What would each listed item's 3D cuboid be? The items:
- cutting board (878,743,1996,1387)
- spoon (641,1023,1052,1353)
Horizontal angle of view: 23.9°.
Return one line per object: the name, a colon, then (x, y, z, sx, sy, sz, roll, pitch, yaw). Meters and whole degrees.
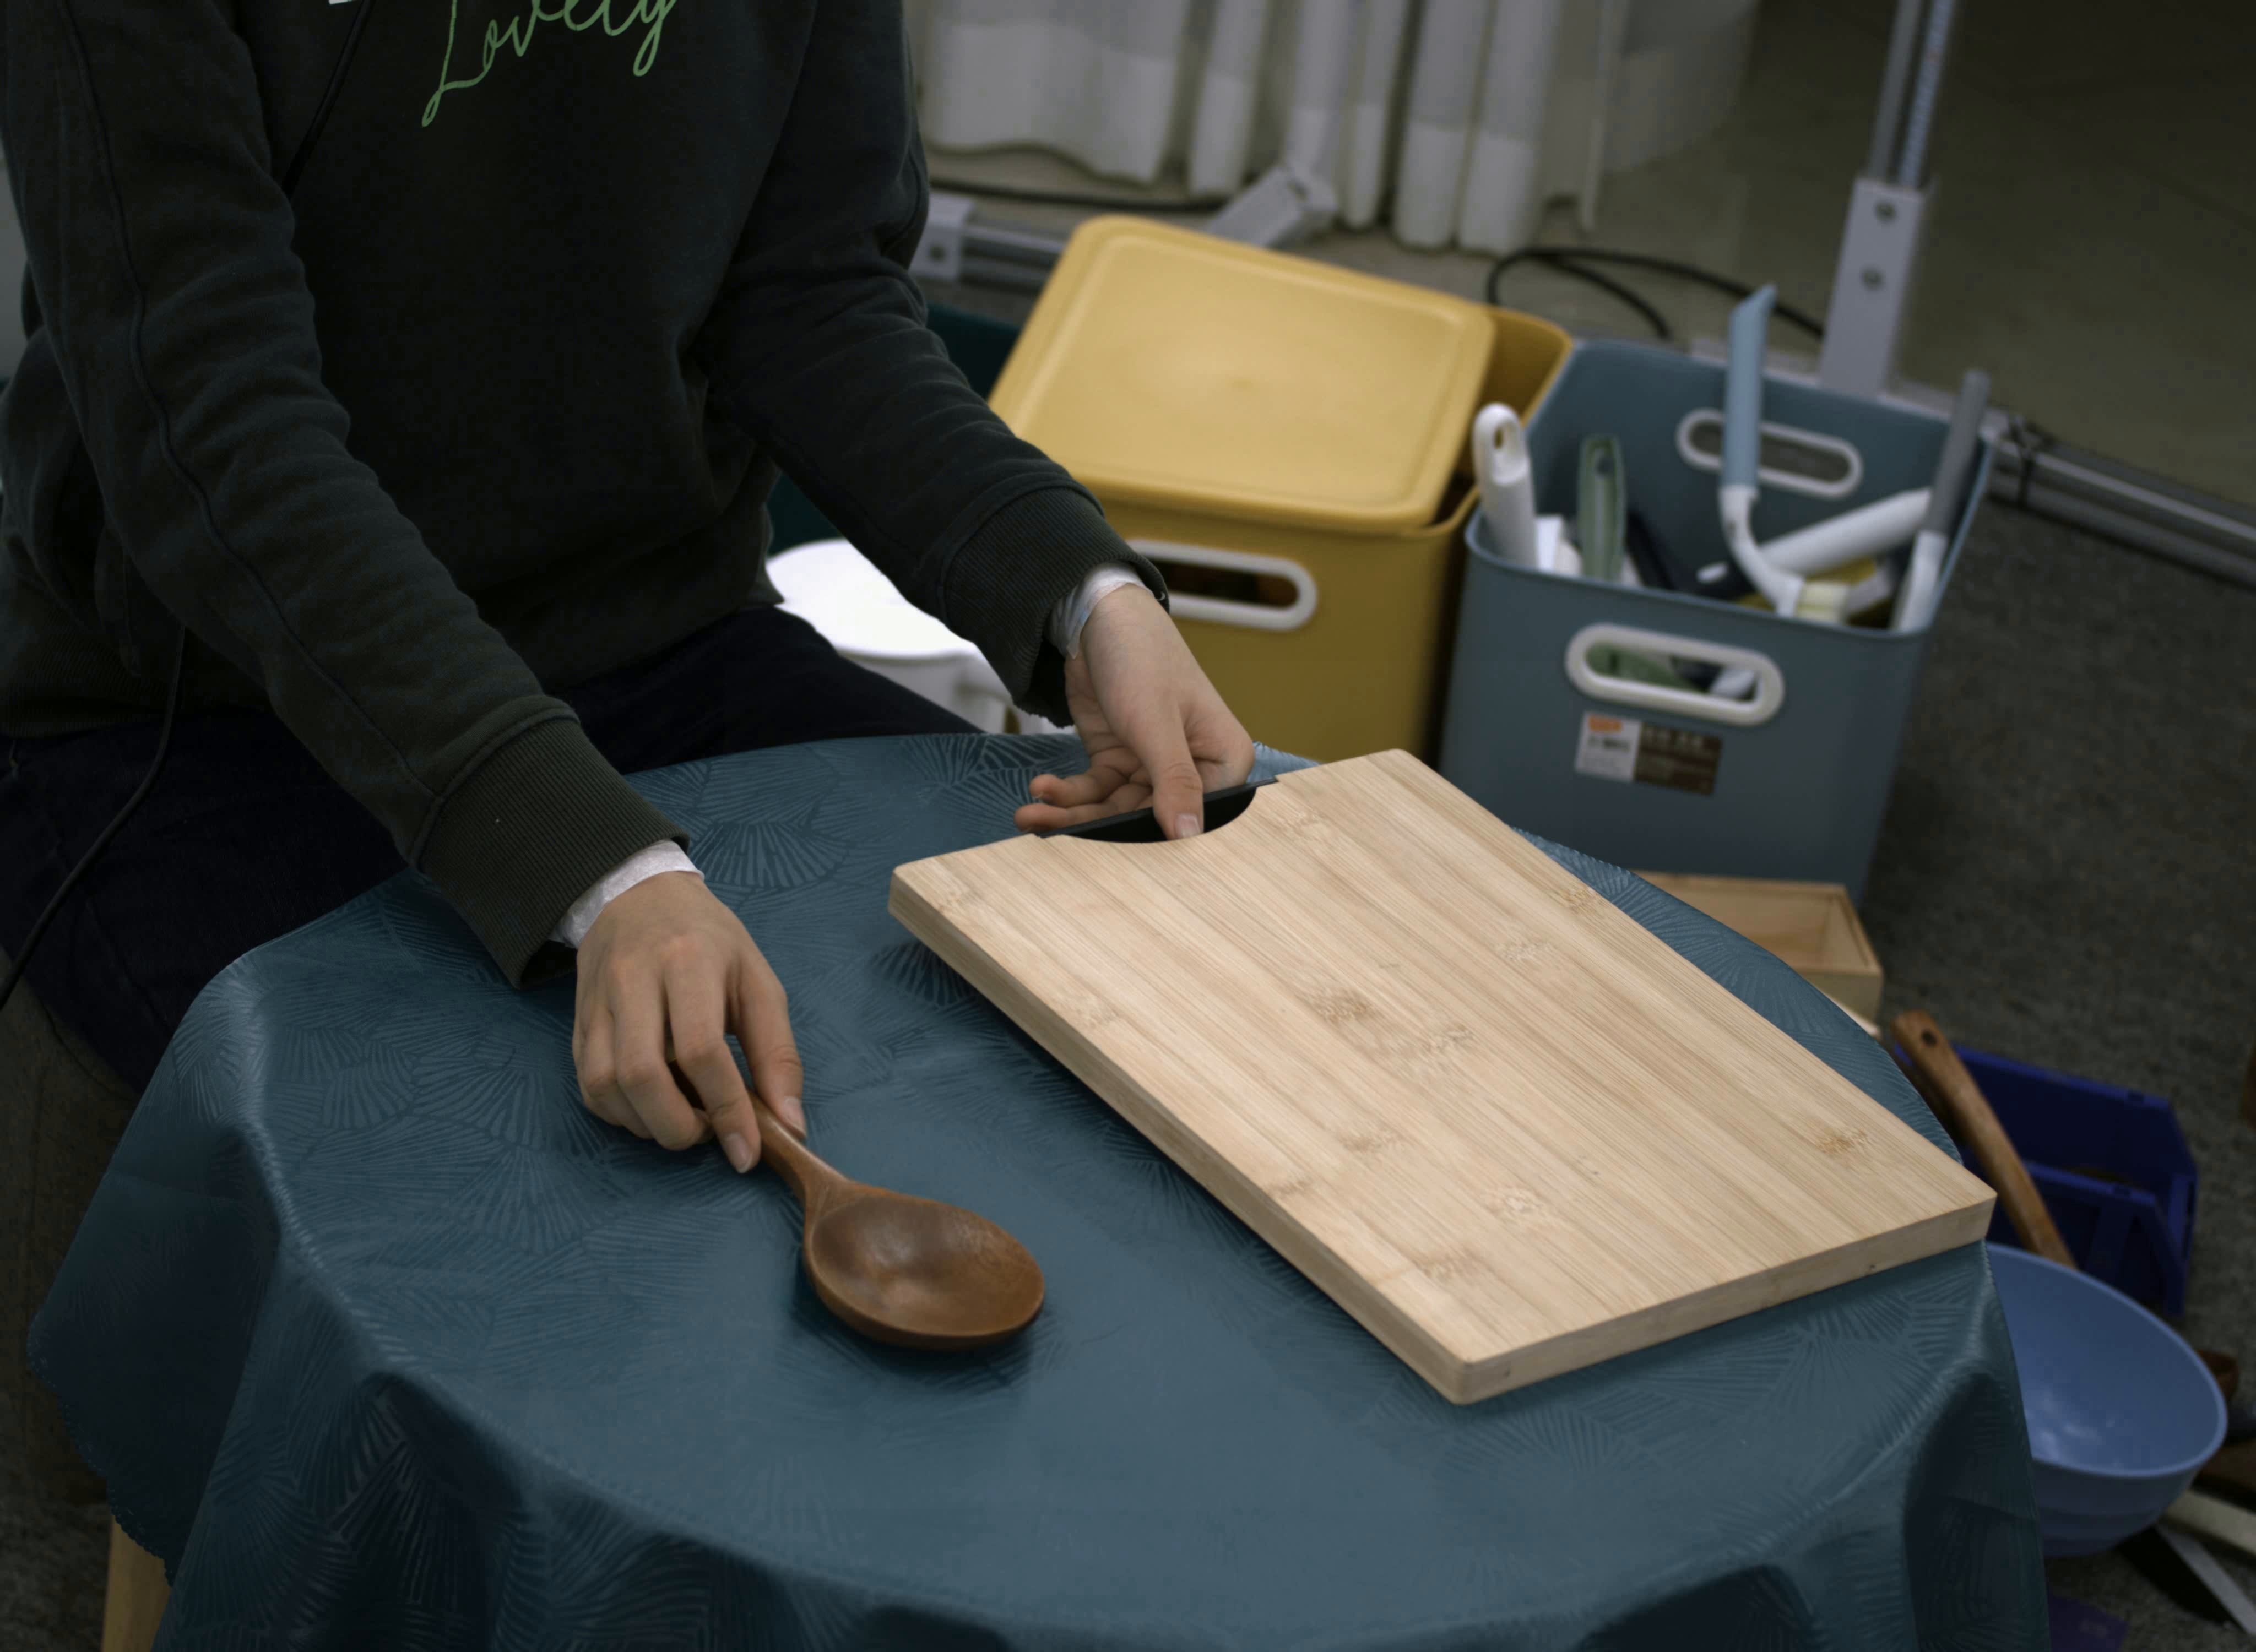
cutting board: (0.103, 0.076, 1.884, 0.249, 0.023, 0.352, -13, 35, -35)
spoon: (-0.101, 0.120, 1.765, 0.075, 0.017, 0.218, -15, 34, -31)
